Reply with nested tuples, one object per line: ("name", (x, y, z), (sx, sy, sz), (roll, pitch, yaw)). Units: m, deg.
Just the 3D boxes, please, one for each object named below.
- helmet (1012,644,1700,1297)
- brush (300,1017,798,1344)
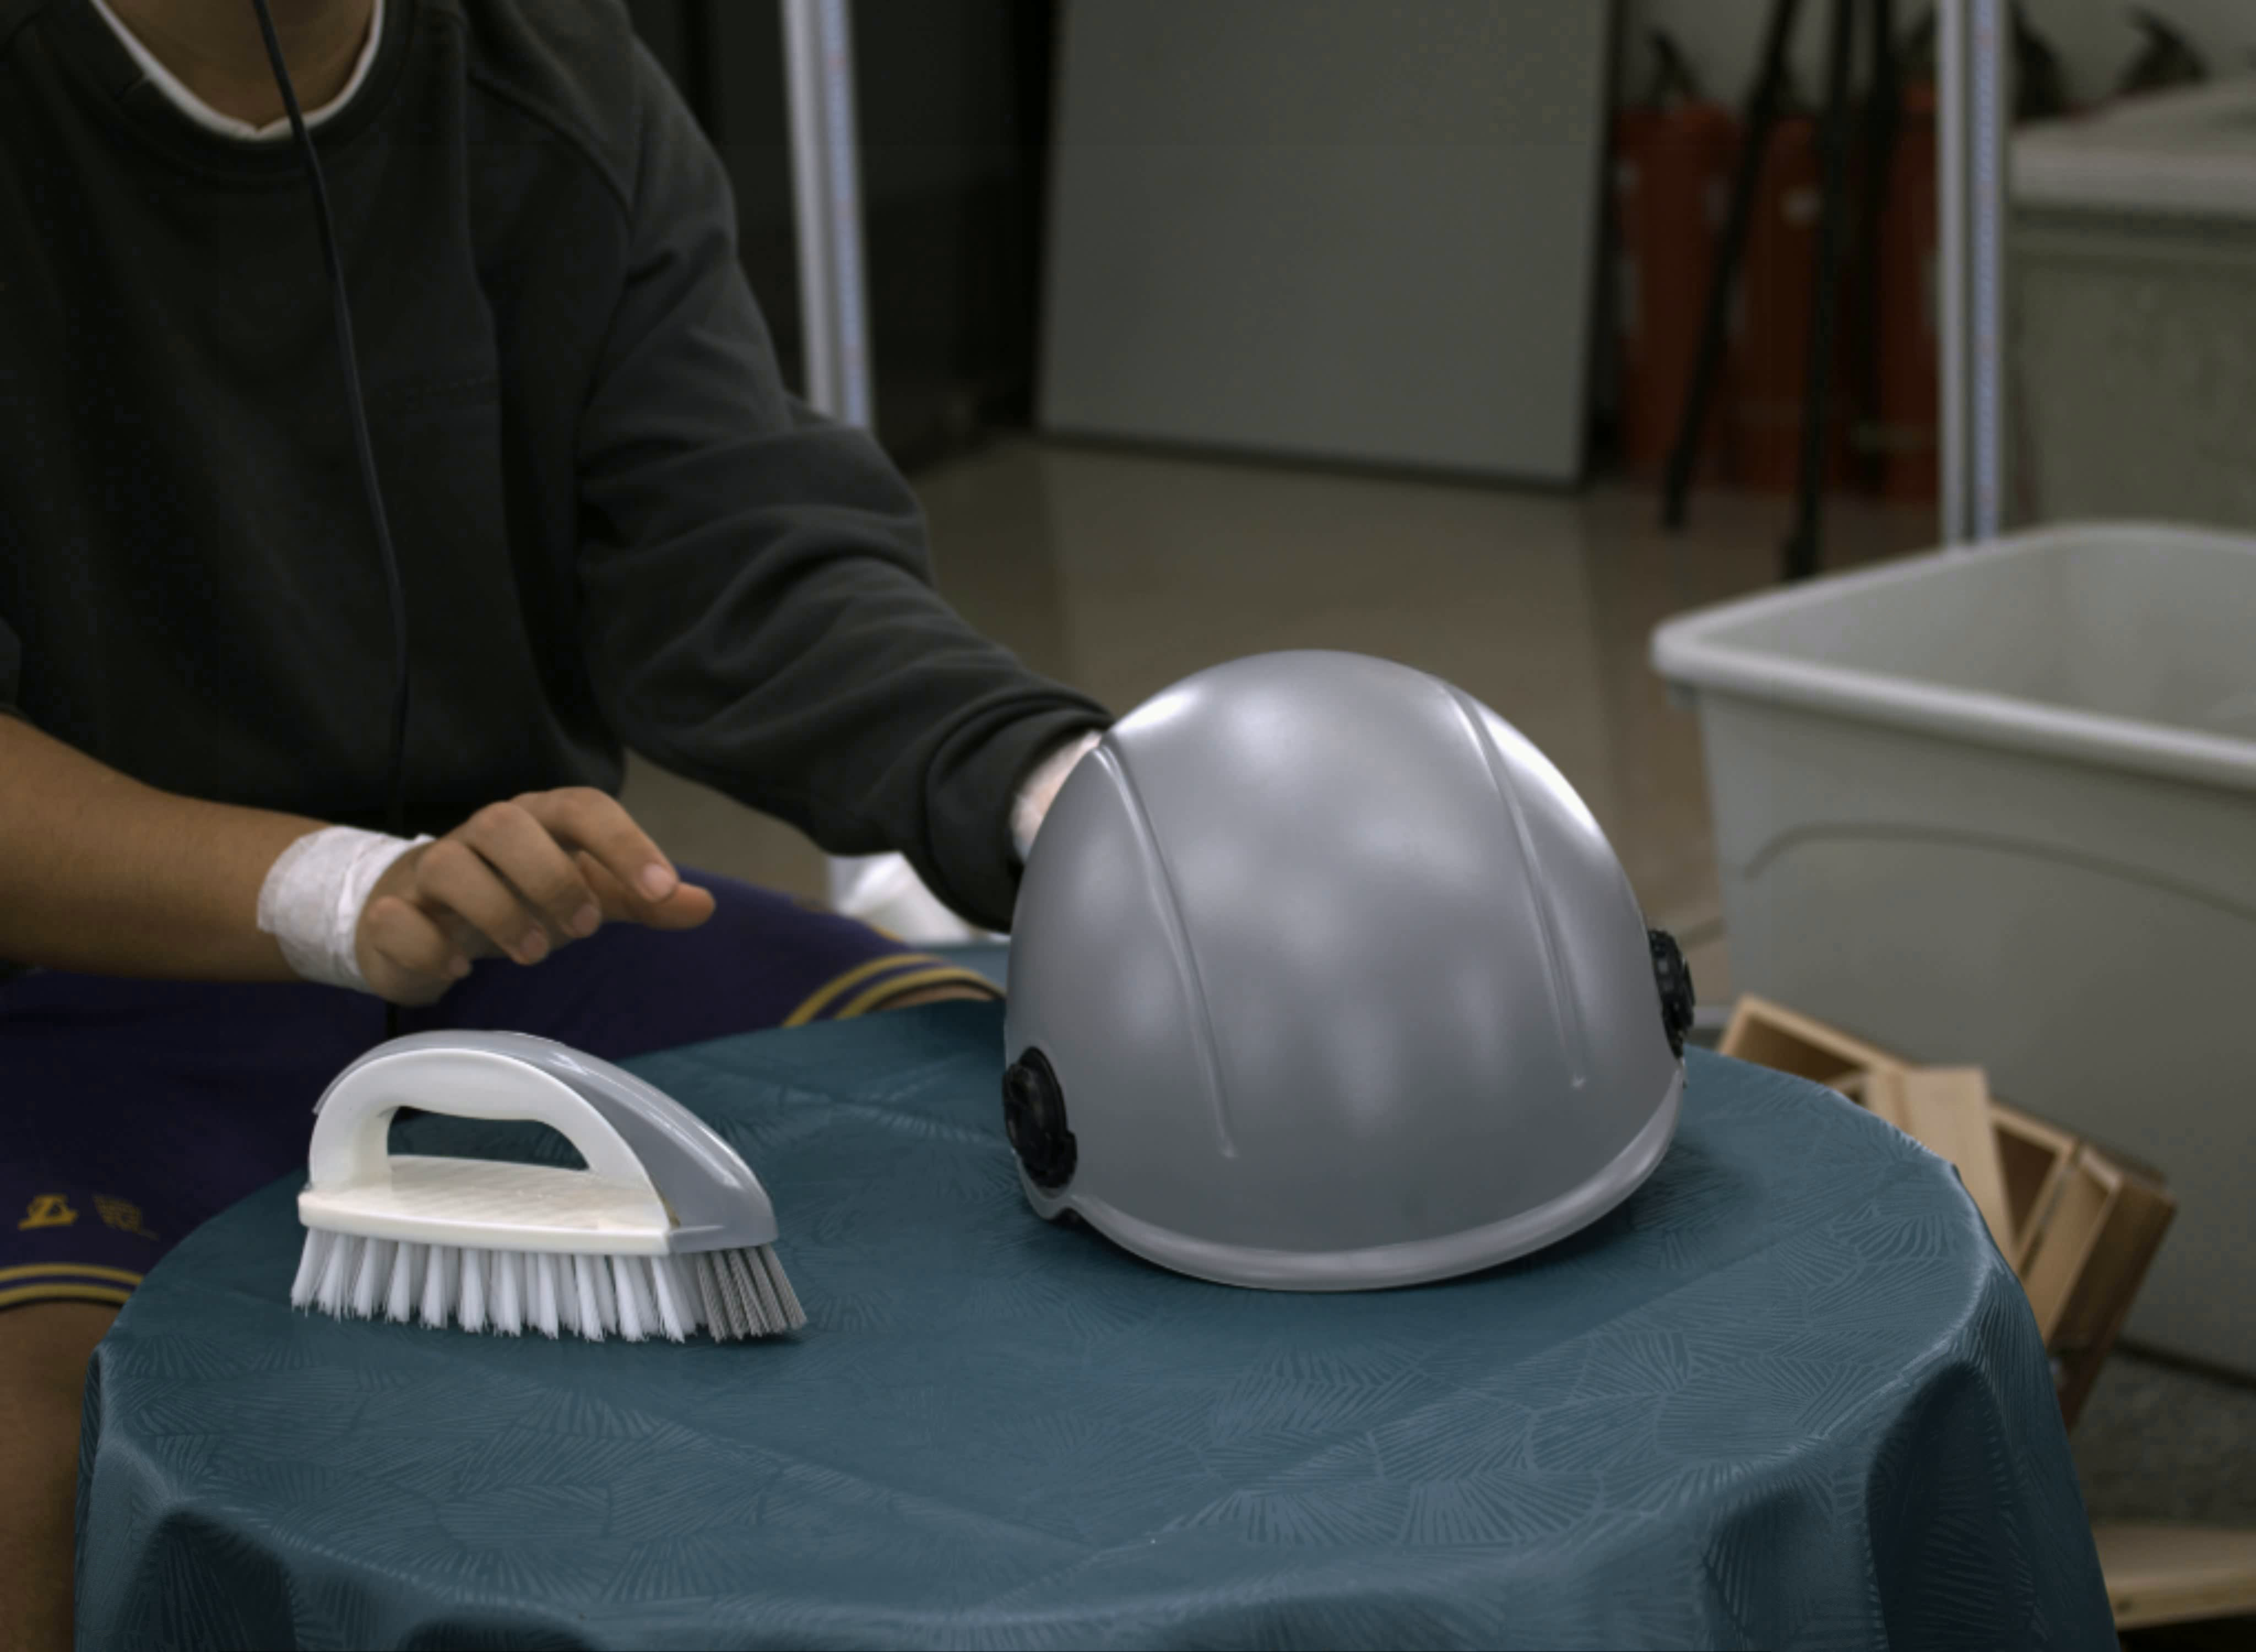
("helmet", (0.064, 0.032, 1.764), (0.229, 0.170, 0.278), (-13, 16, -5))
("brush", (-0.179, 0.108, 1.682), (0.176, 0.095, 0.060), (6, 18, 29))
